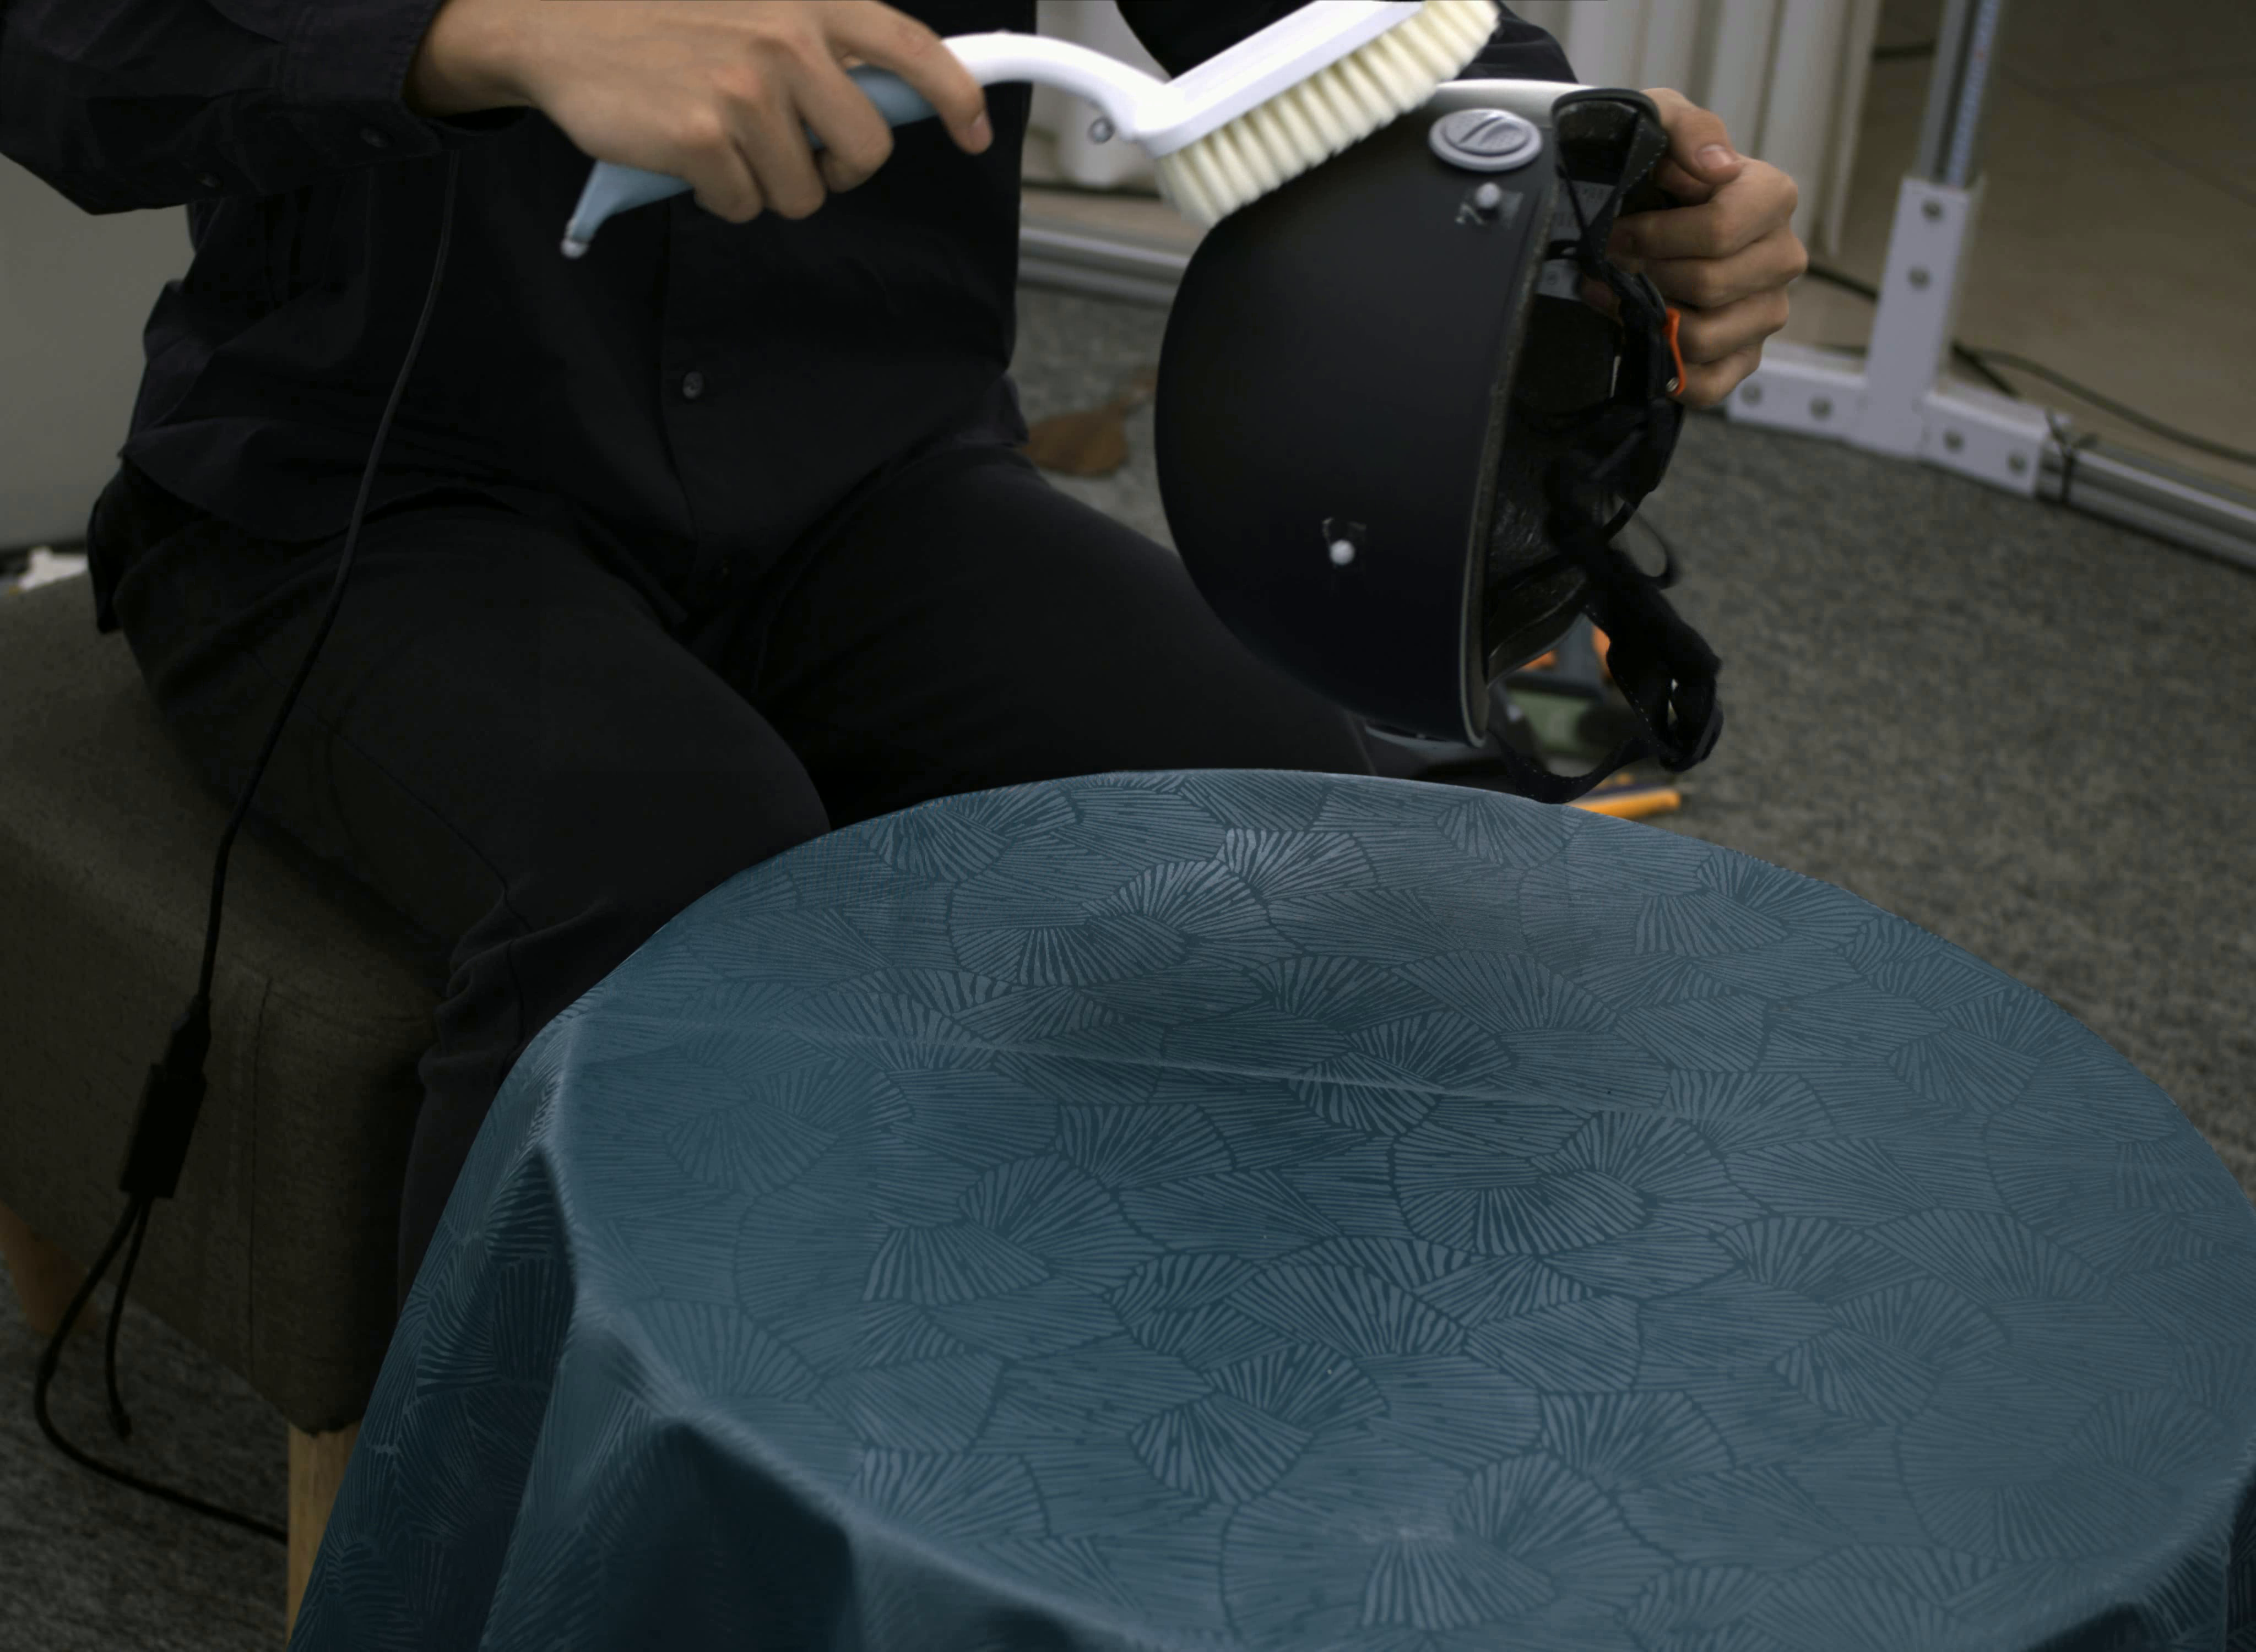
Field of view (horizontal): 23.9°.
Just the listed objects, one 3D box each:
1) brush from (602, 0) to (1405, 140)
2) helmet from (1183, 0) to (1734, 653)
[{"bbox_3d":[-0.020,-0.266,1.849,0.325,0.082,0.085,-18,66,0],"label":"brush"},{"bbox_3d":[0.104,-0.188,1.904,0.167,0.229,0.273,12,26,19],"label":"helmet"}]
